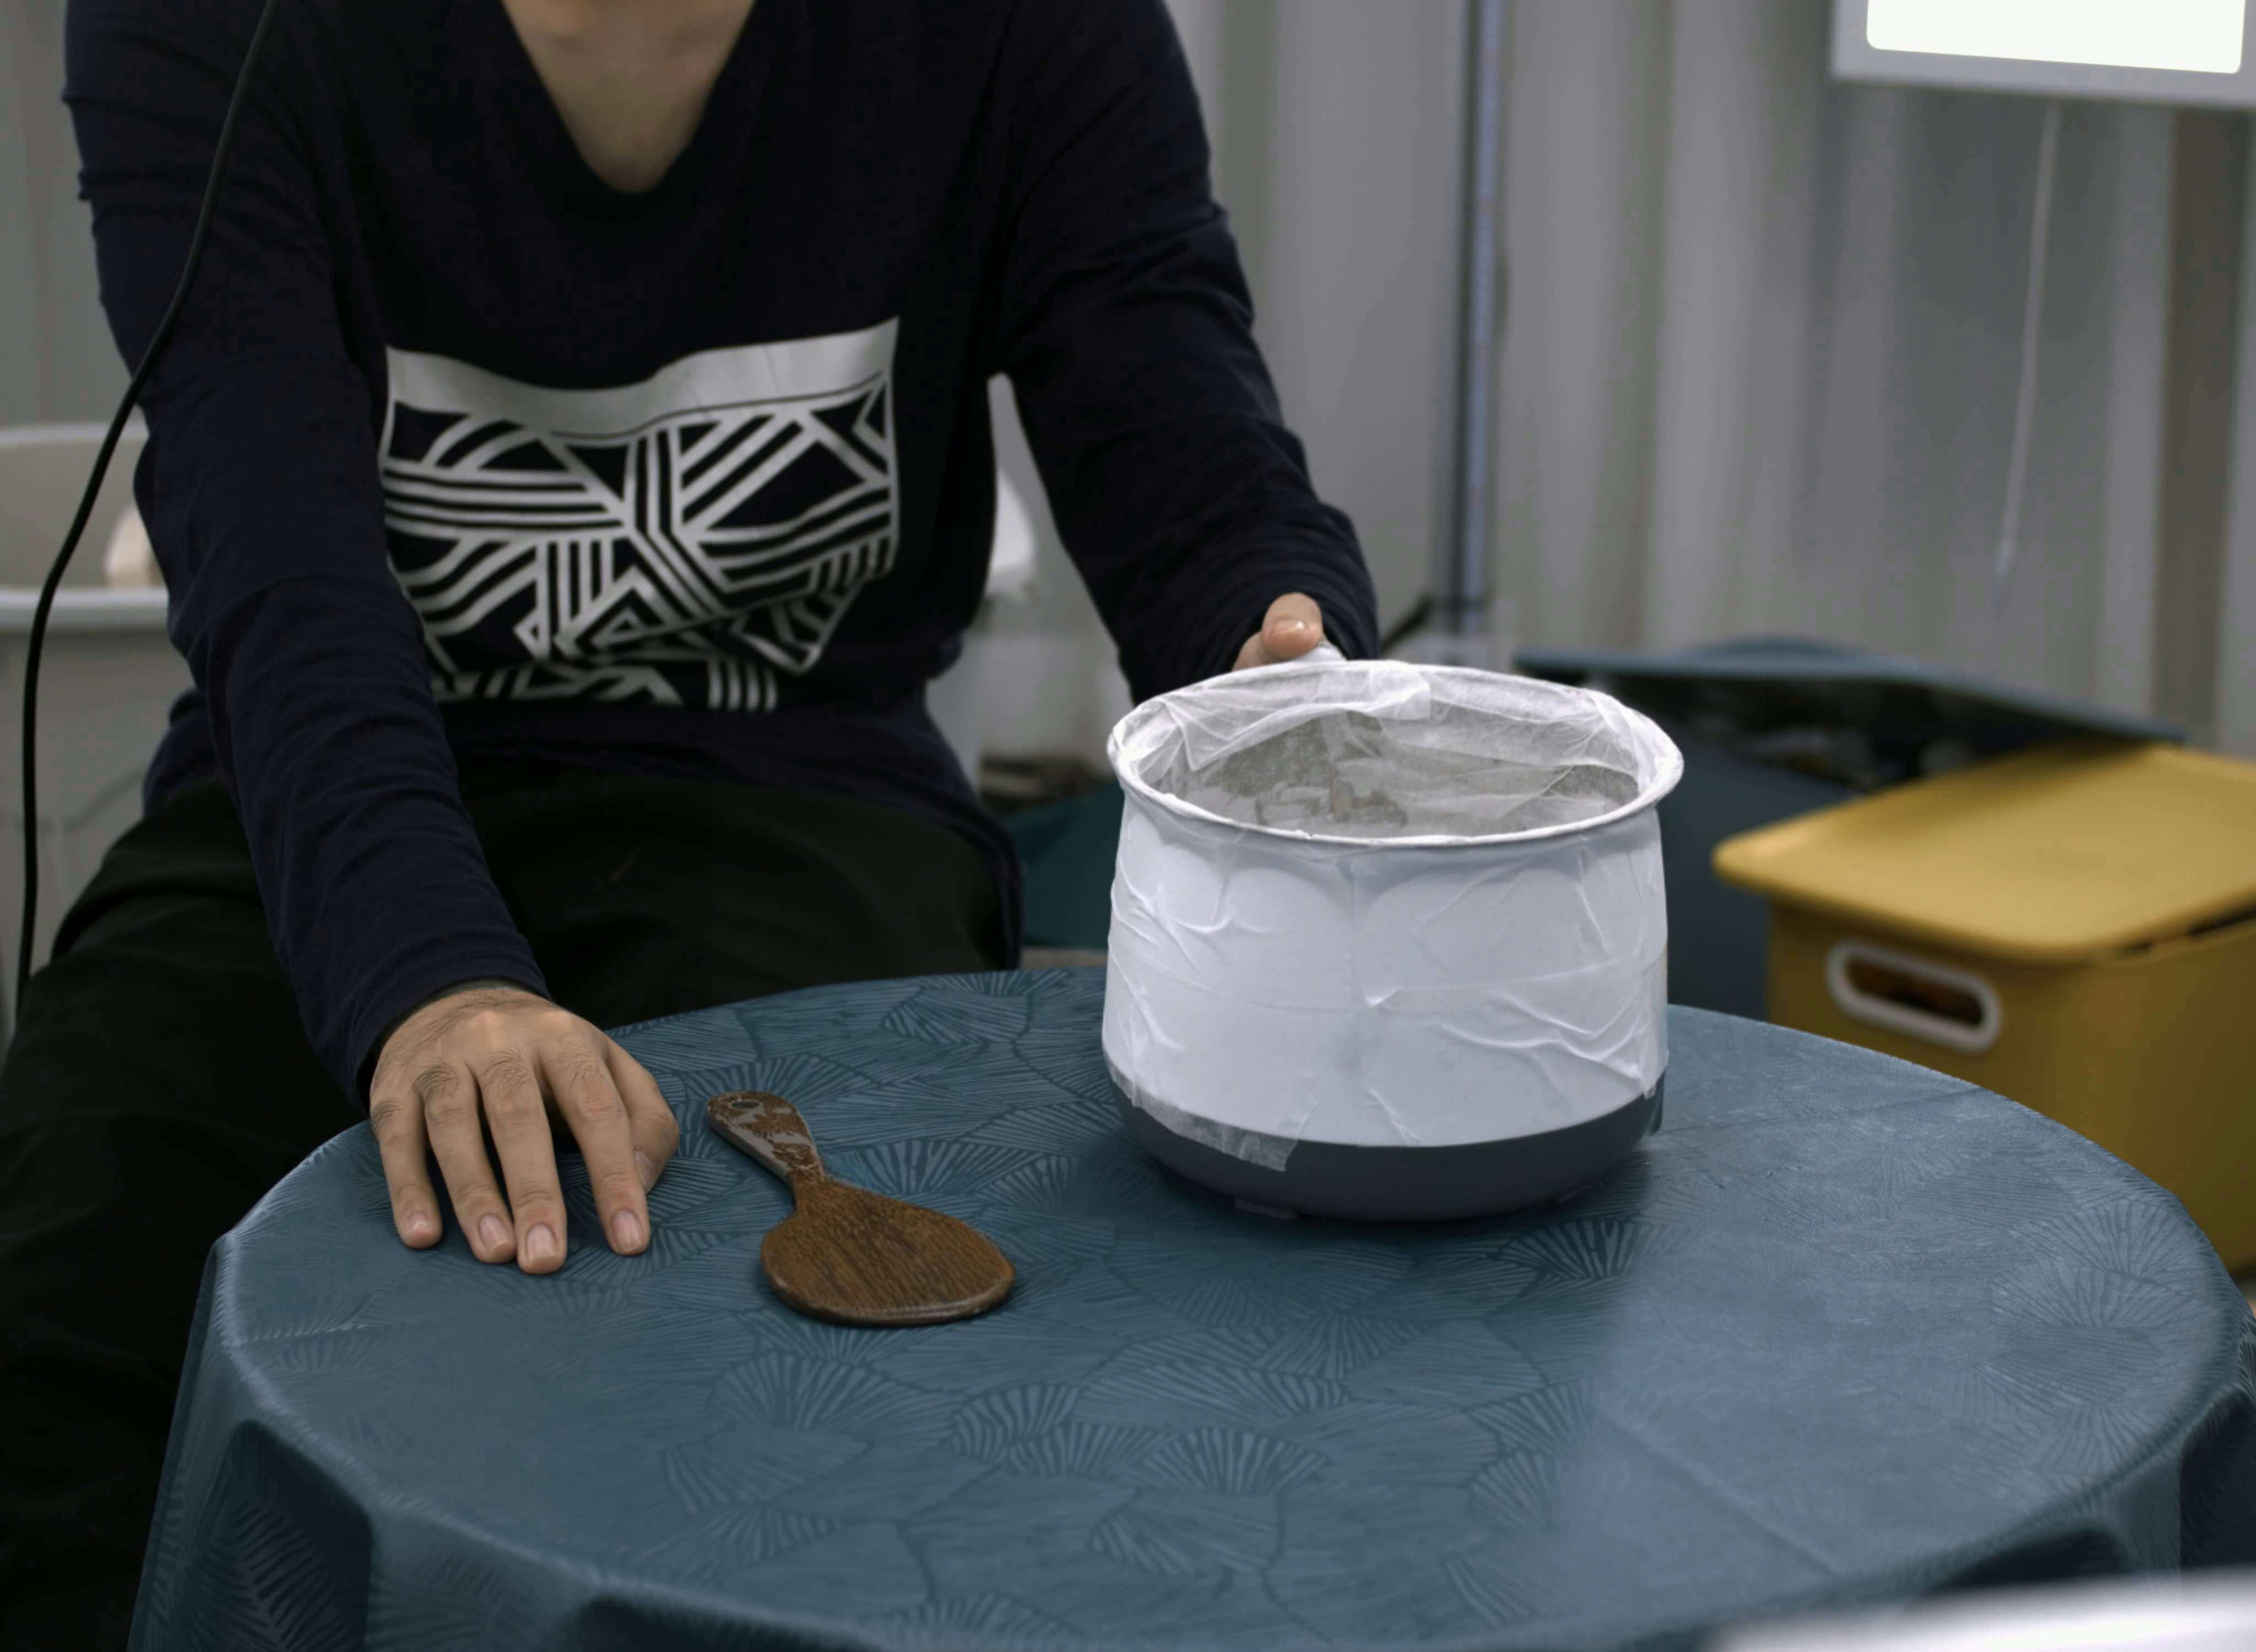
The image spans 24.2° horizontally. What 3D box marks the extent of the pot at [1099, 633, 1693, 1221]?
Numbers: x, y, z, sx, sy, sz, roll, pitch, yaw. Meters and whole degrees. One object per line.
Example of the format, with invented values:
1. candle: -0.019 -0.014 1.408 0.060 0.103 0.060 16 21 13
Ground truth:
1. pot: 0.074 0.026 1.659 0.179 0.138 0.231 -1 20 -15

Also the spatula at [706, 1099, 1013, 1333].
1. spatula: -0.092 0.115 1.604 0.072 0.009 0.213 -3 15 -18
